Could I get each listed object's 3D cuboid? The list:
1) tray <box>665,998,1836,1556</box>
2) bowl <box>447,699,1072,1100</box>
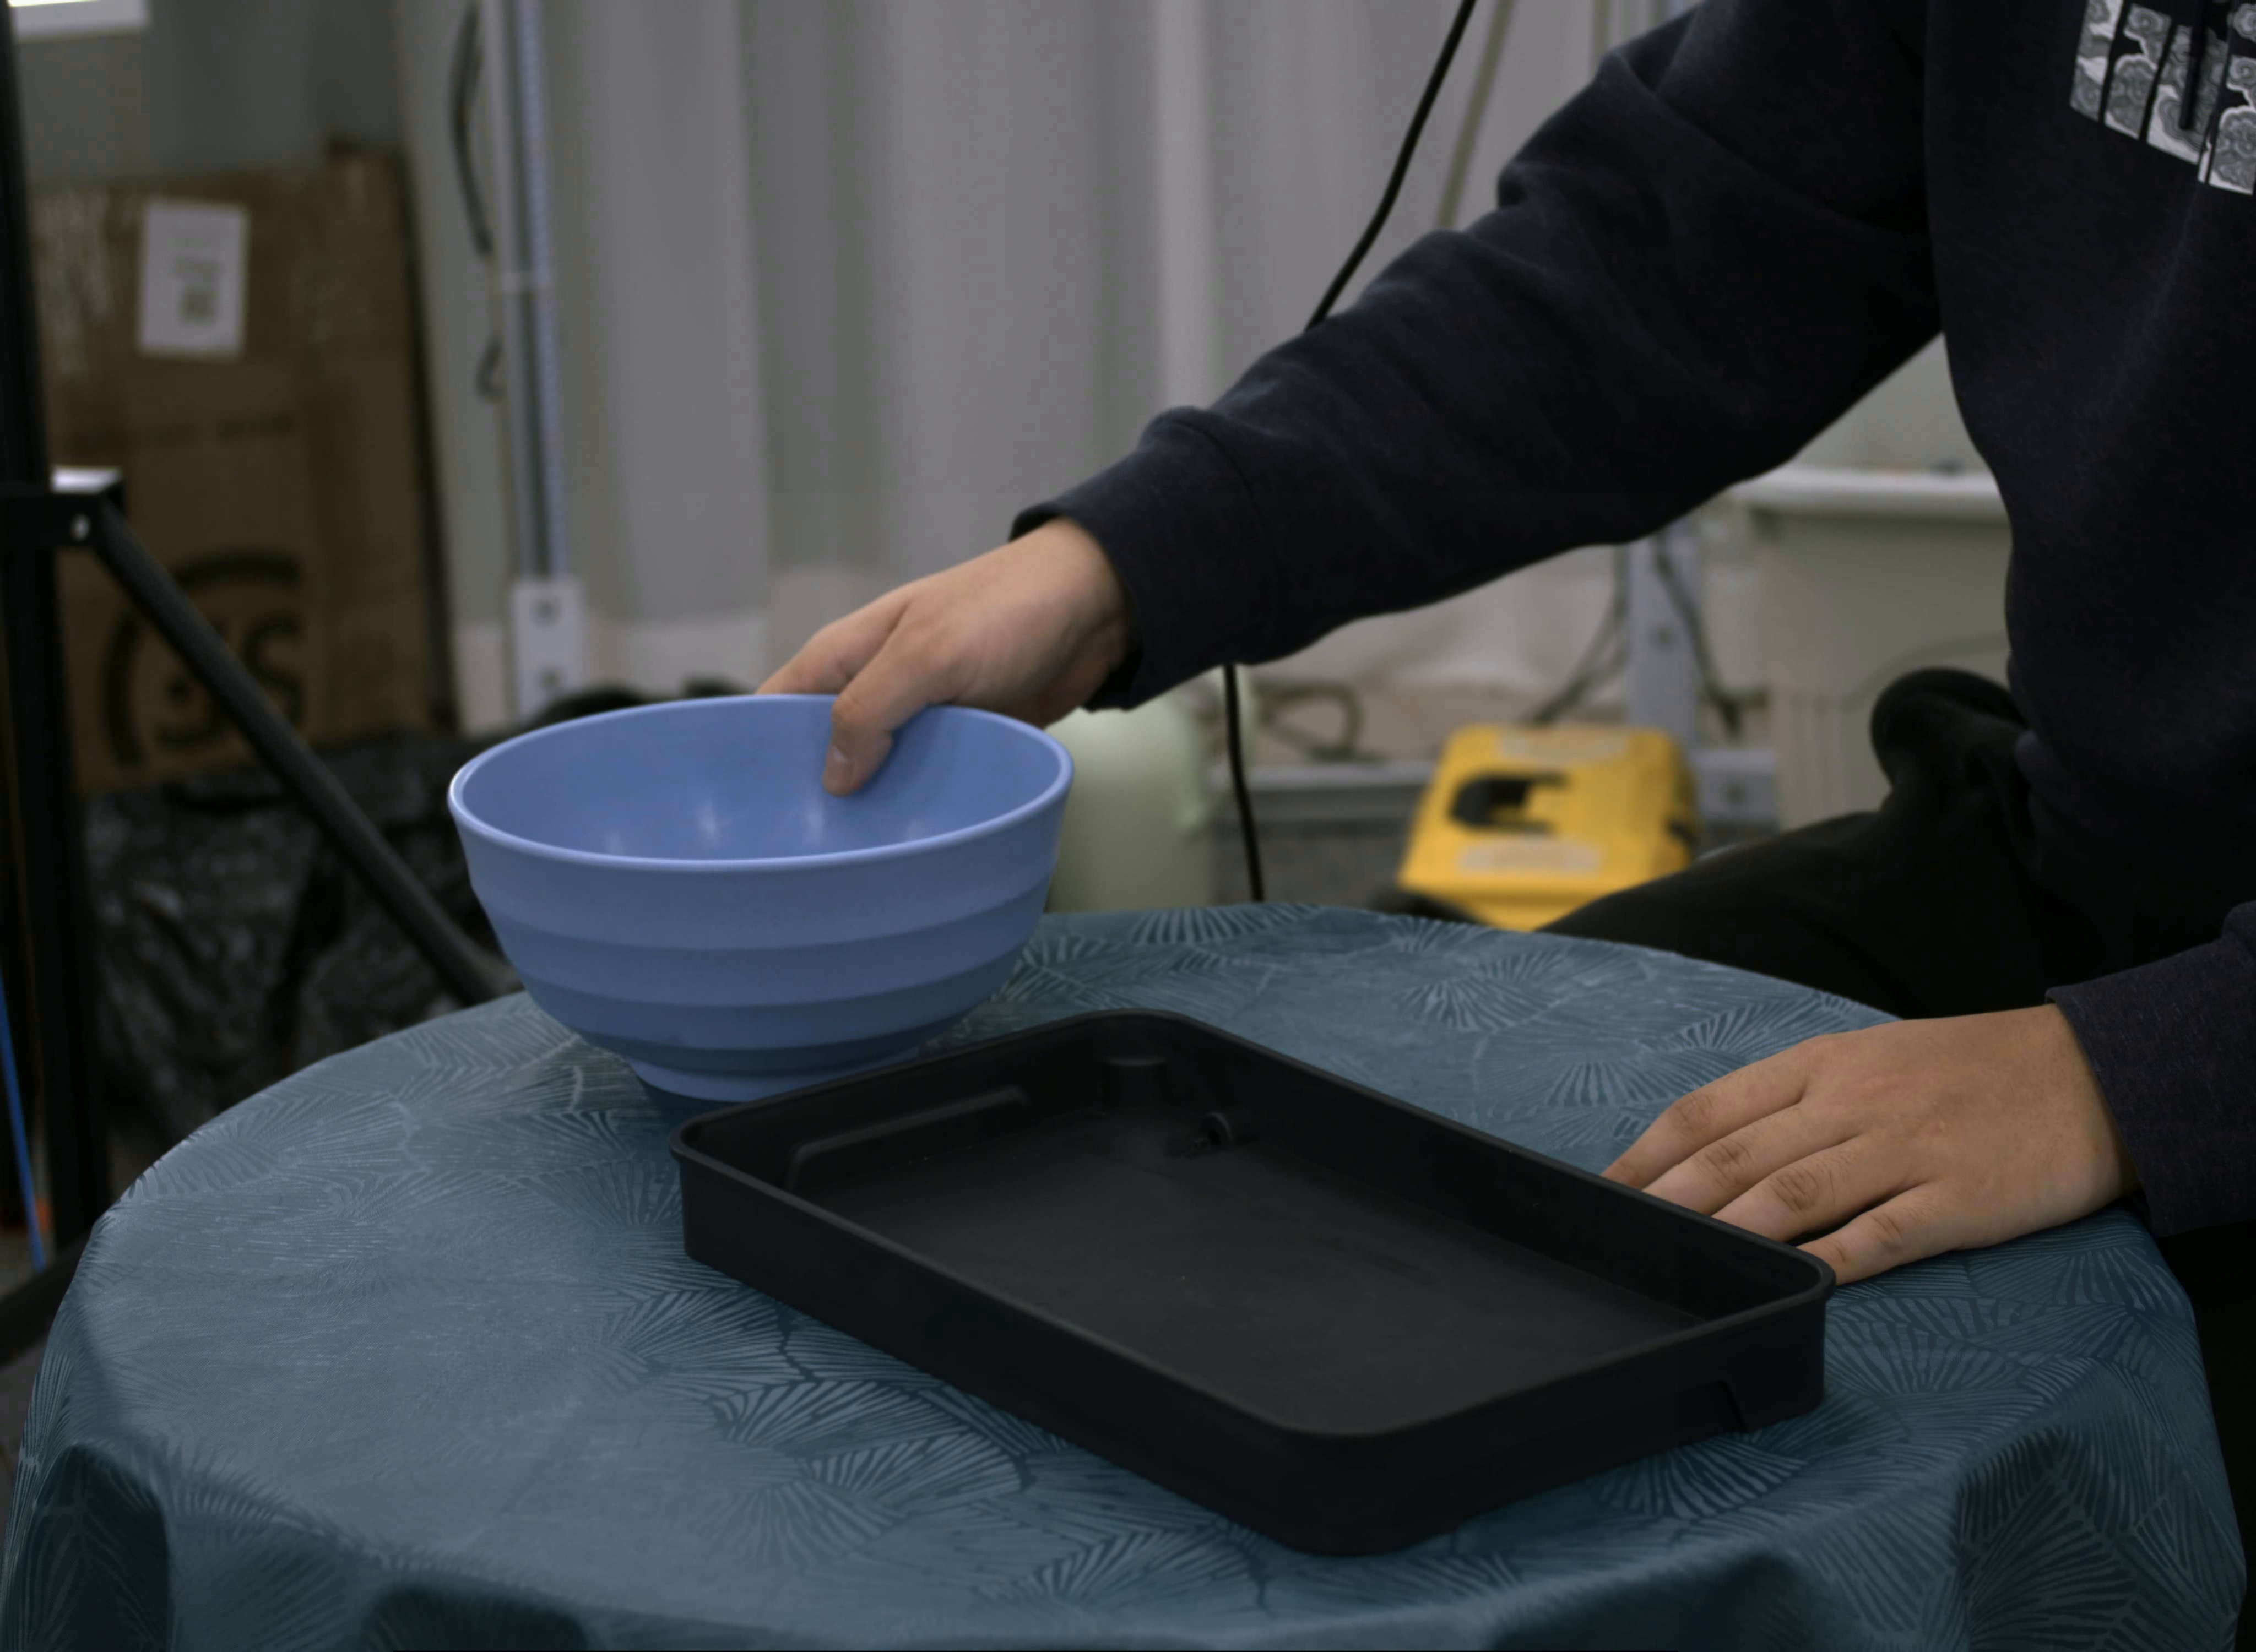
[{"bbox_3d":[0.027,0.116,1.454,0.180,0.037,0.325,-13,19,-34],"label":"tray"},{"bbox_3d":[-0.113,0.028,1.681,0.195,0.095,0.197,-4,15,0],"label":"bowl"}]
